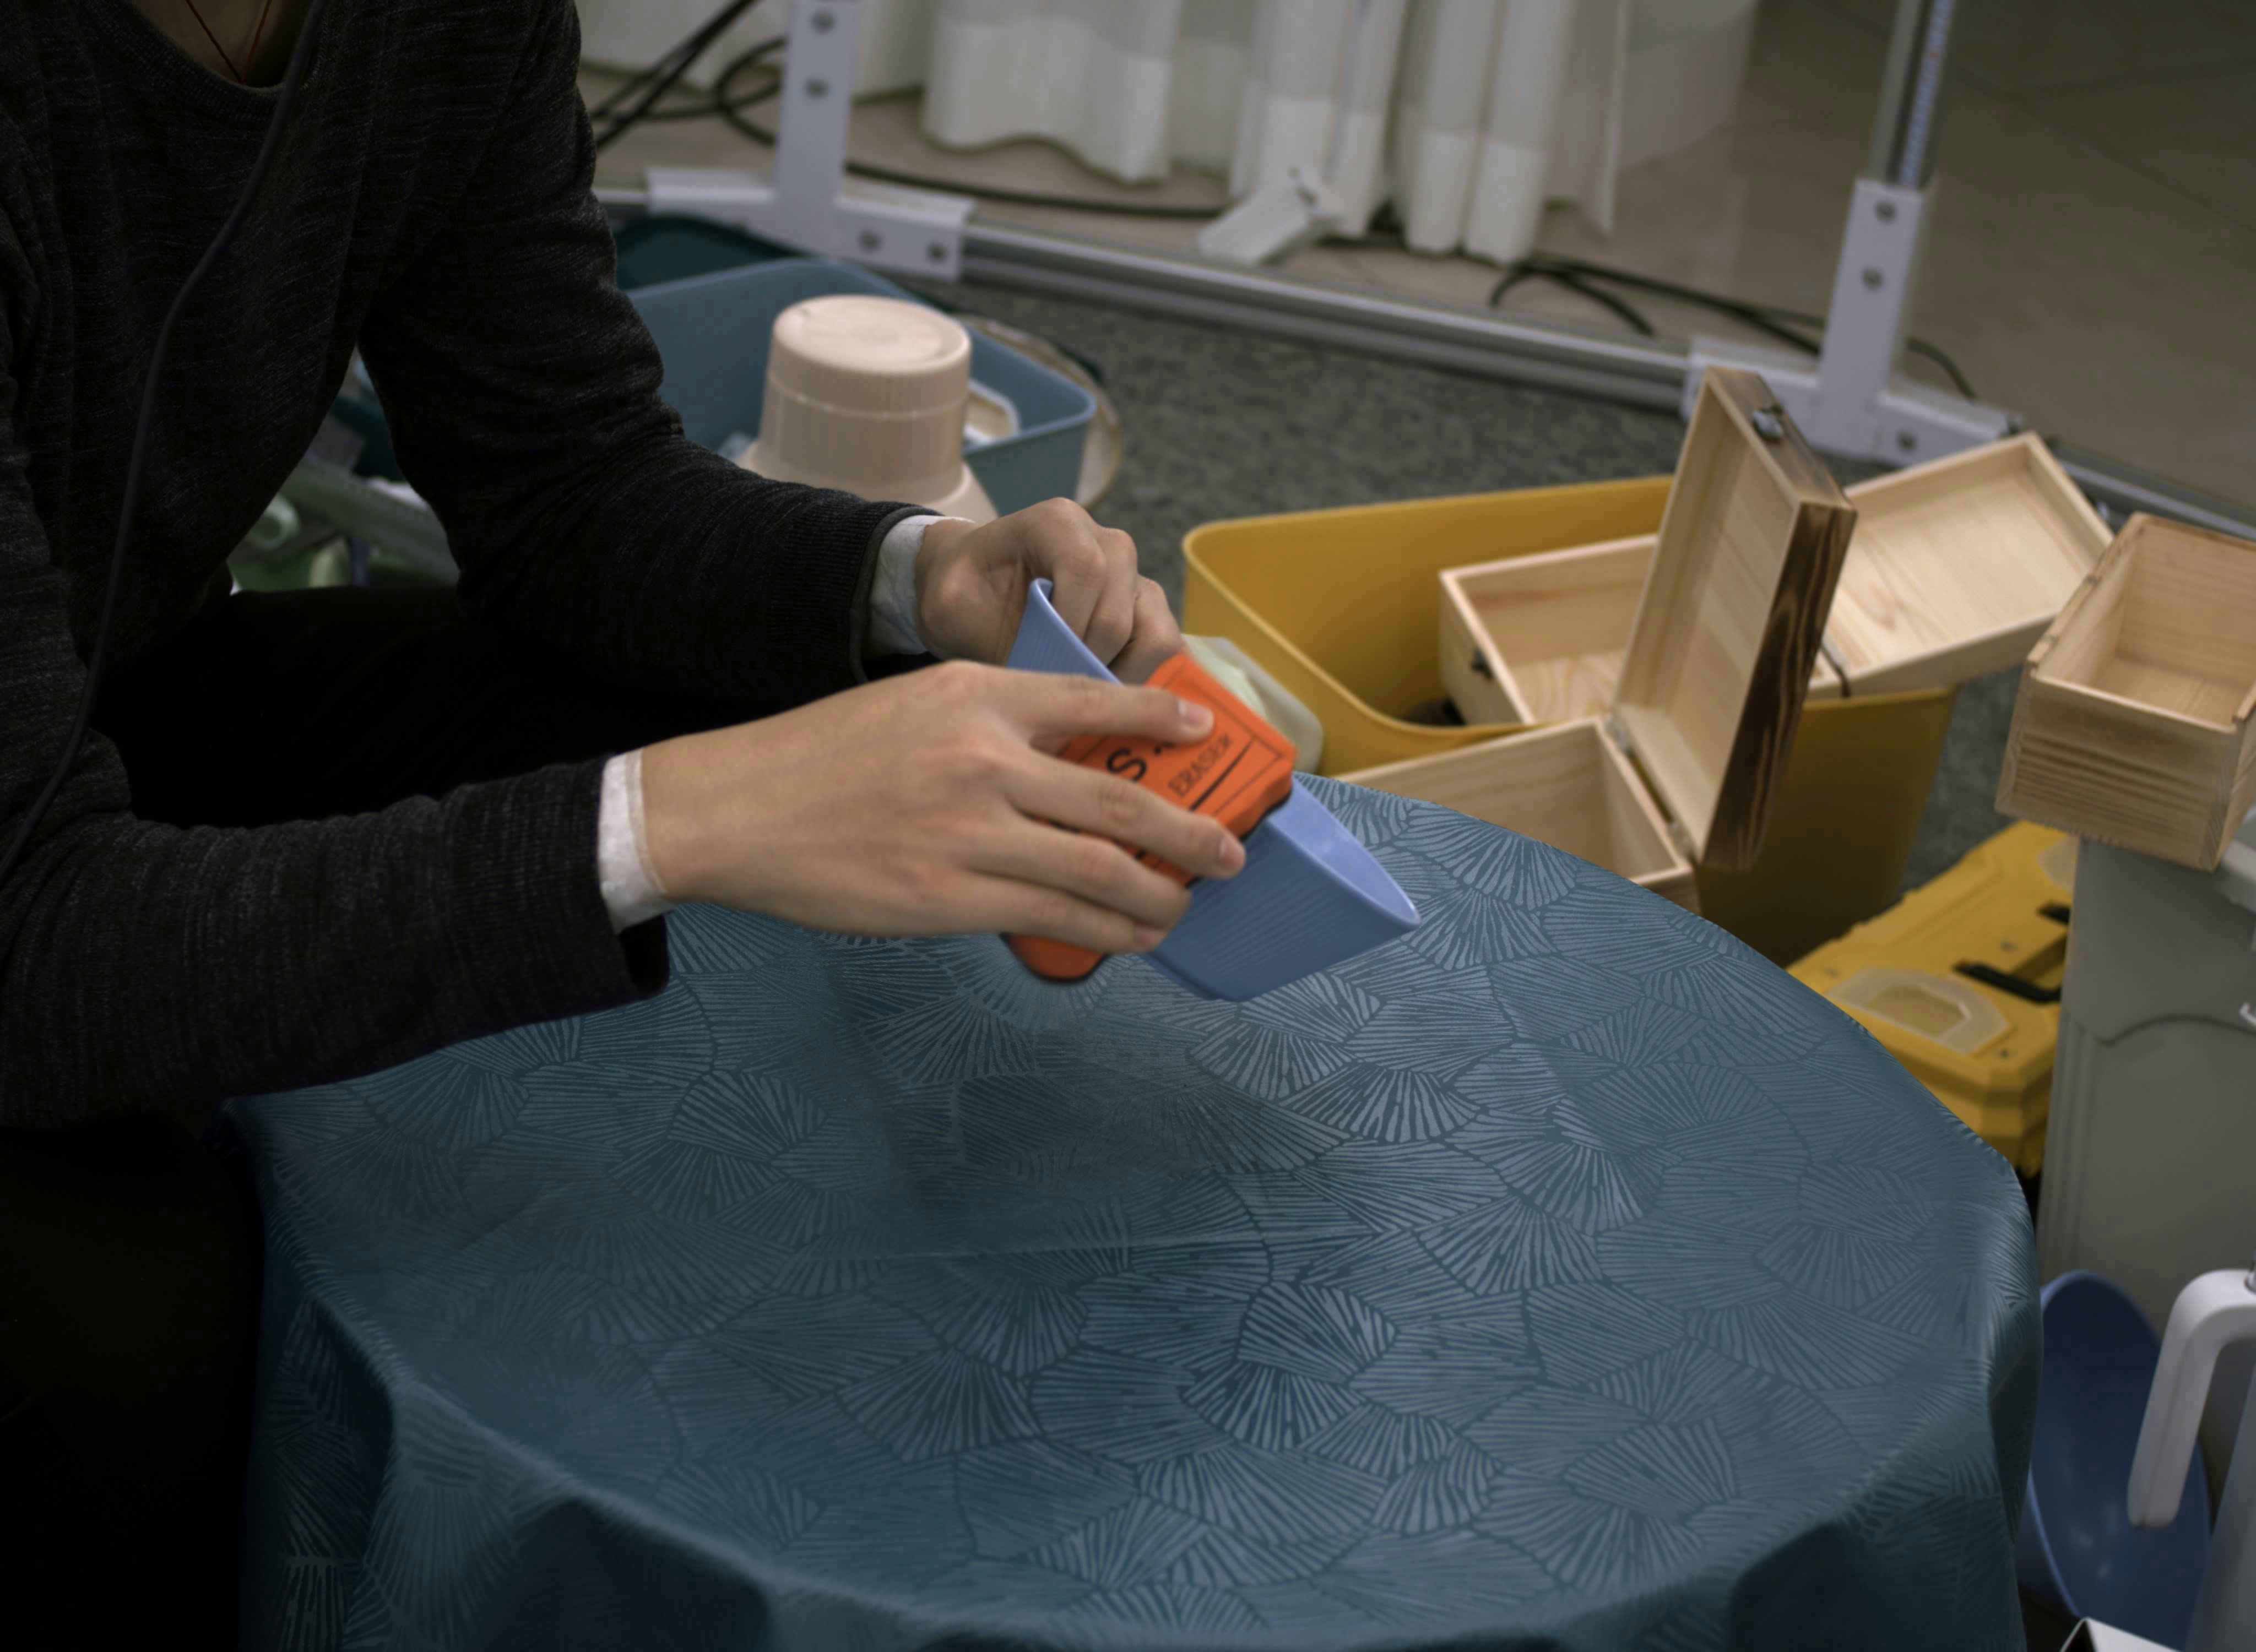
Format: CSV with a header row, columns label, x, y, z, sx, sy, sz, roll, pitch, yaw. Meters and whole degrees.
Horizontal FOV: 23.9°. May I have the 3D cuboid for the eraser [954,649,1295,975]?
label,x,y,z,sx,sy,sz,roll,pitch,yaw
eraser,-0.001,-0.005,1.690,0.059,0.023,0.108,41,70,20

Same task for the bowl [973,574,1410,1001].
label,x,y,z,sx,sy,sz,roll,pitch,yaw
bowl,0.011,-0.003,1.808,0.175,0.070,0.176,41,7,-6
